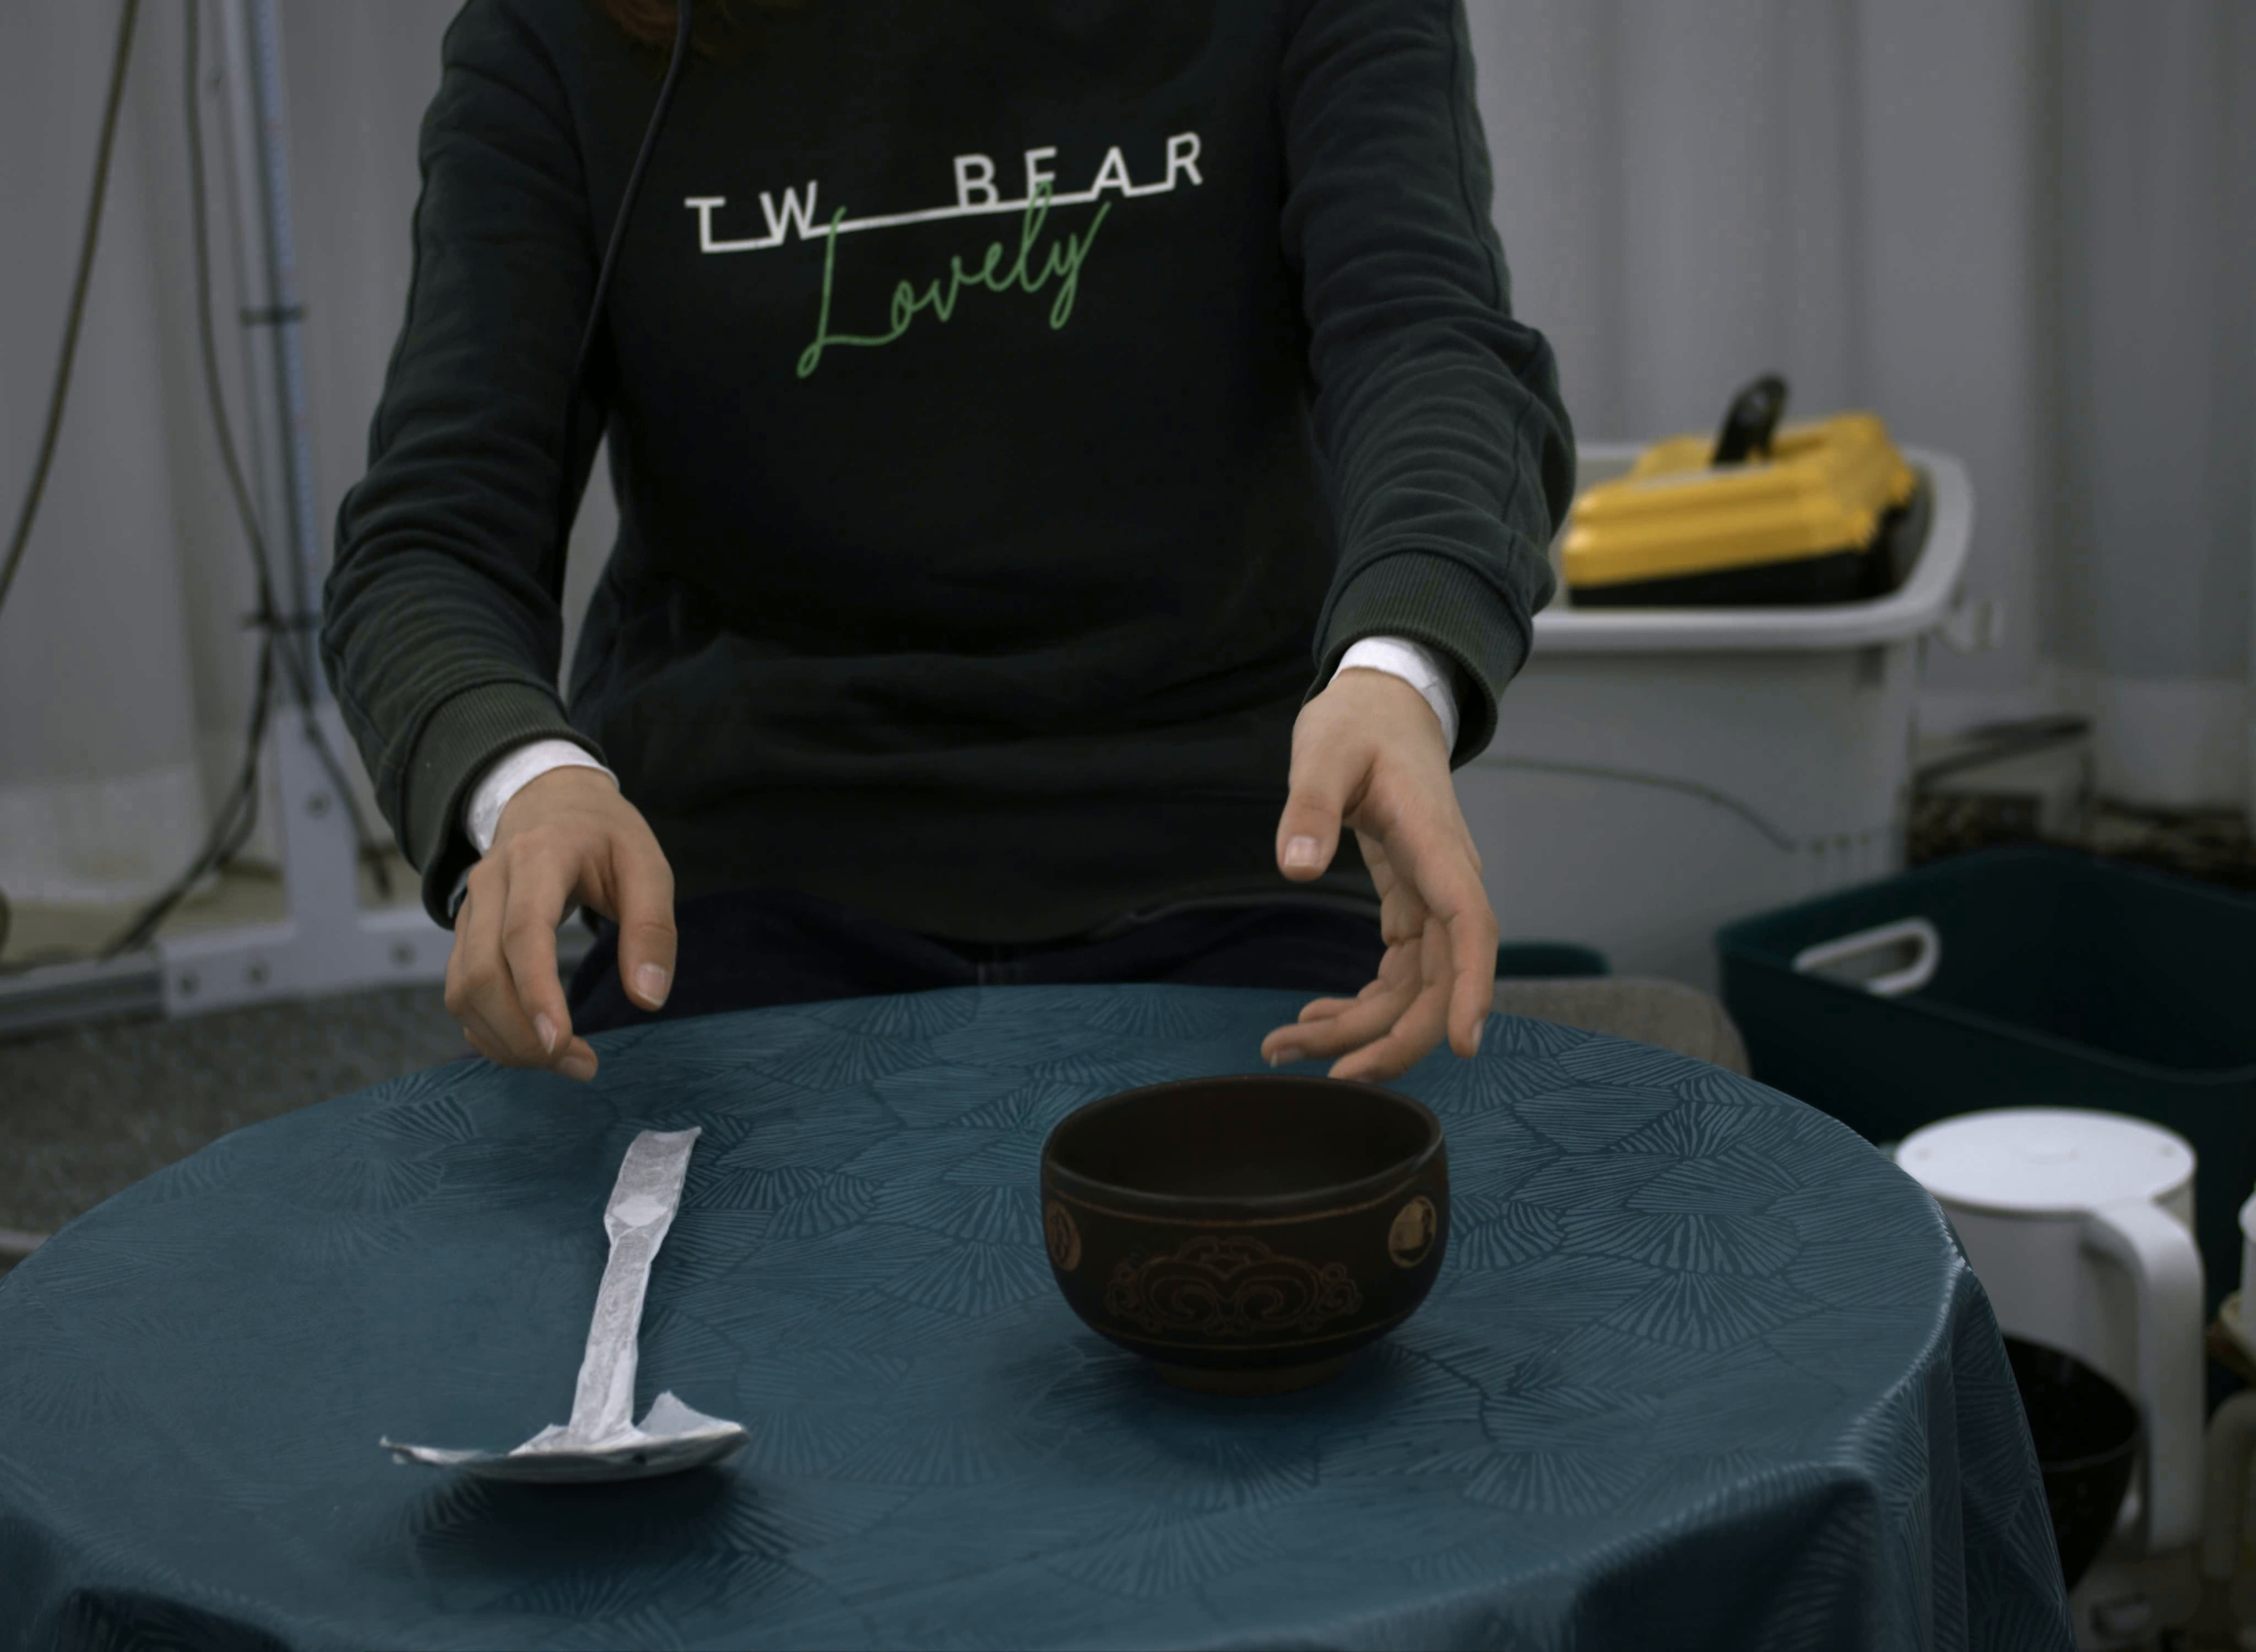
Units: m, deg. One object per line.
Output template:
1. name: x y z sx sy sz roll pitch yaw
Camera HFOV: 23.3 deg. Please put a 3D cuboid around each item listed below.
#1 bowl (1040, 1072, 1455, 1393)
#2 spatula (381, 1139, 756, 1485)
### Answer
1. bowl: 0.034 0.119 1.554 0.117 0.069 0.119 -1 14 0
2. spatula: -0.144 0.133 1.599 0.098 0.044 0.367 -4 15 2
